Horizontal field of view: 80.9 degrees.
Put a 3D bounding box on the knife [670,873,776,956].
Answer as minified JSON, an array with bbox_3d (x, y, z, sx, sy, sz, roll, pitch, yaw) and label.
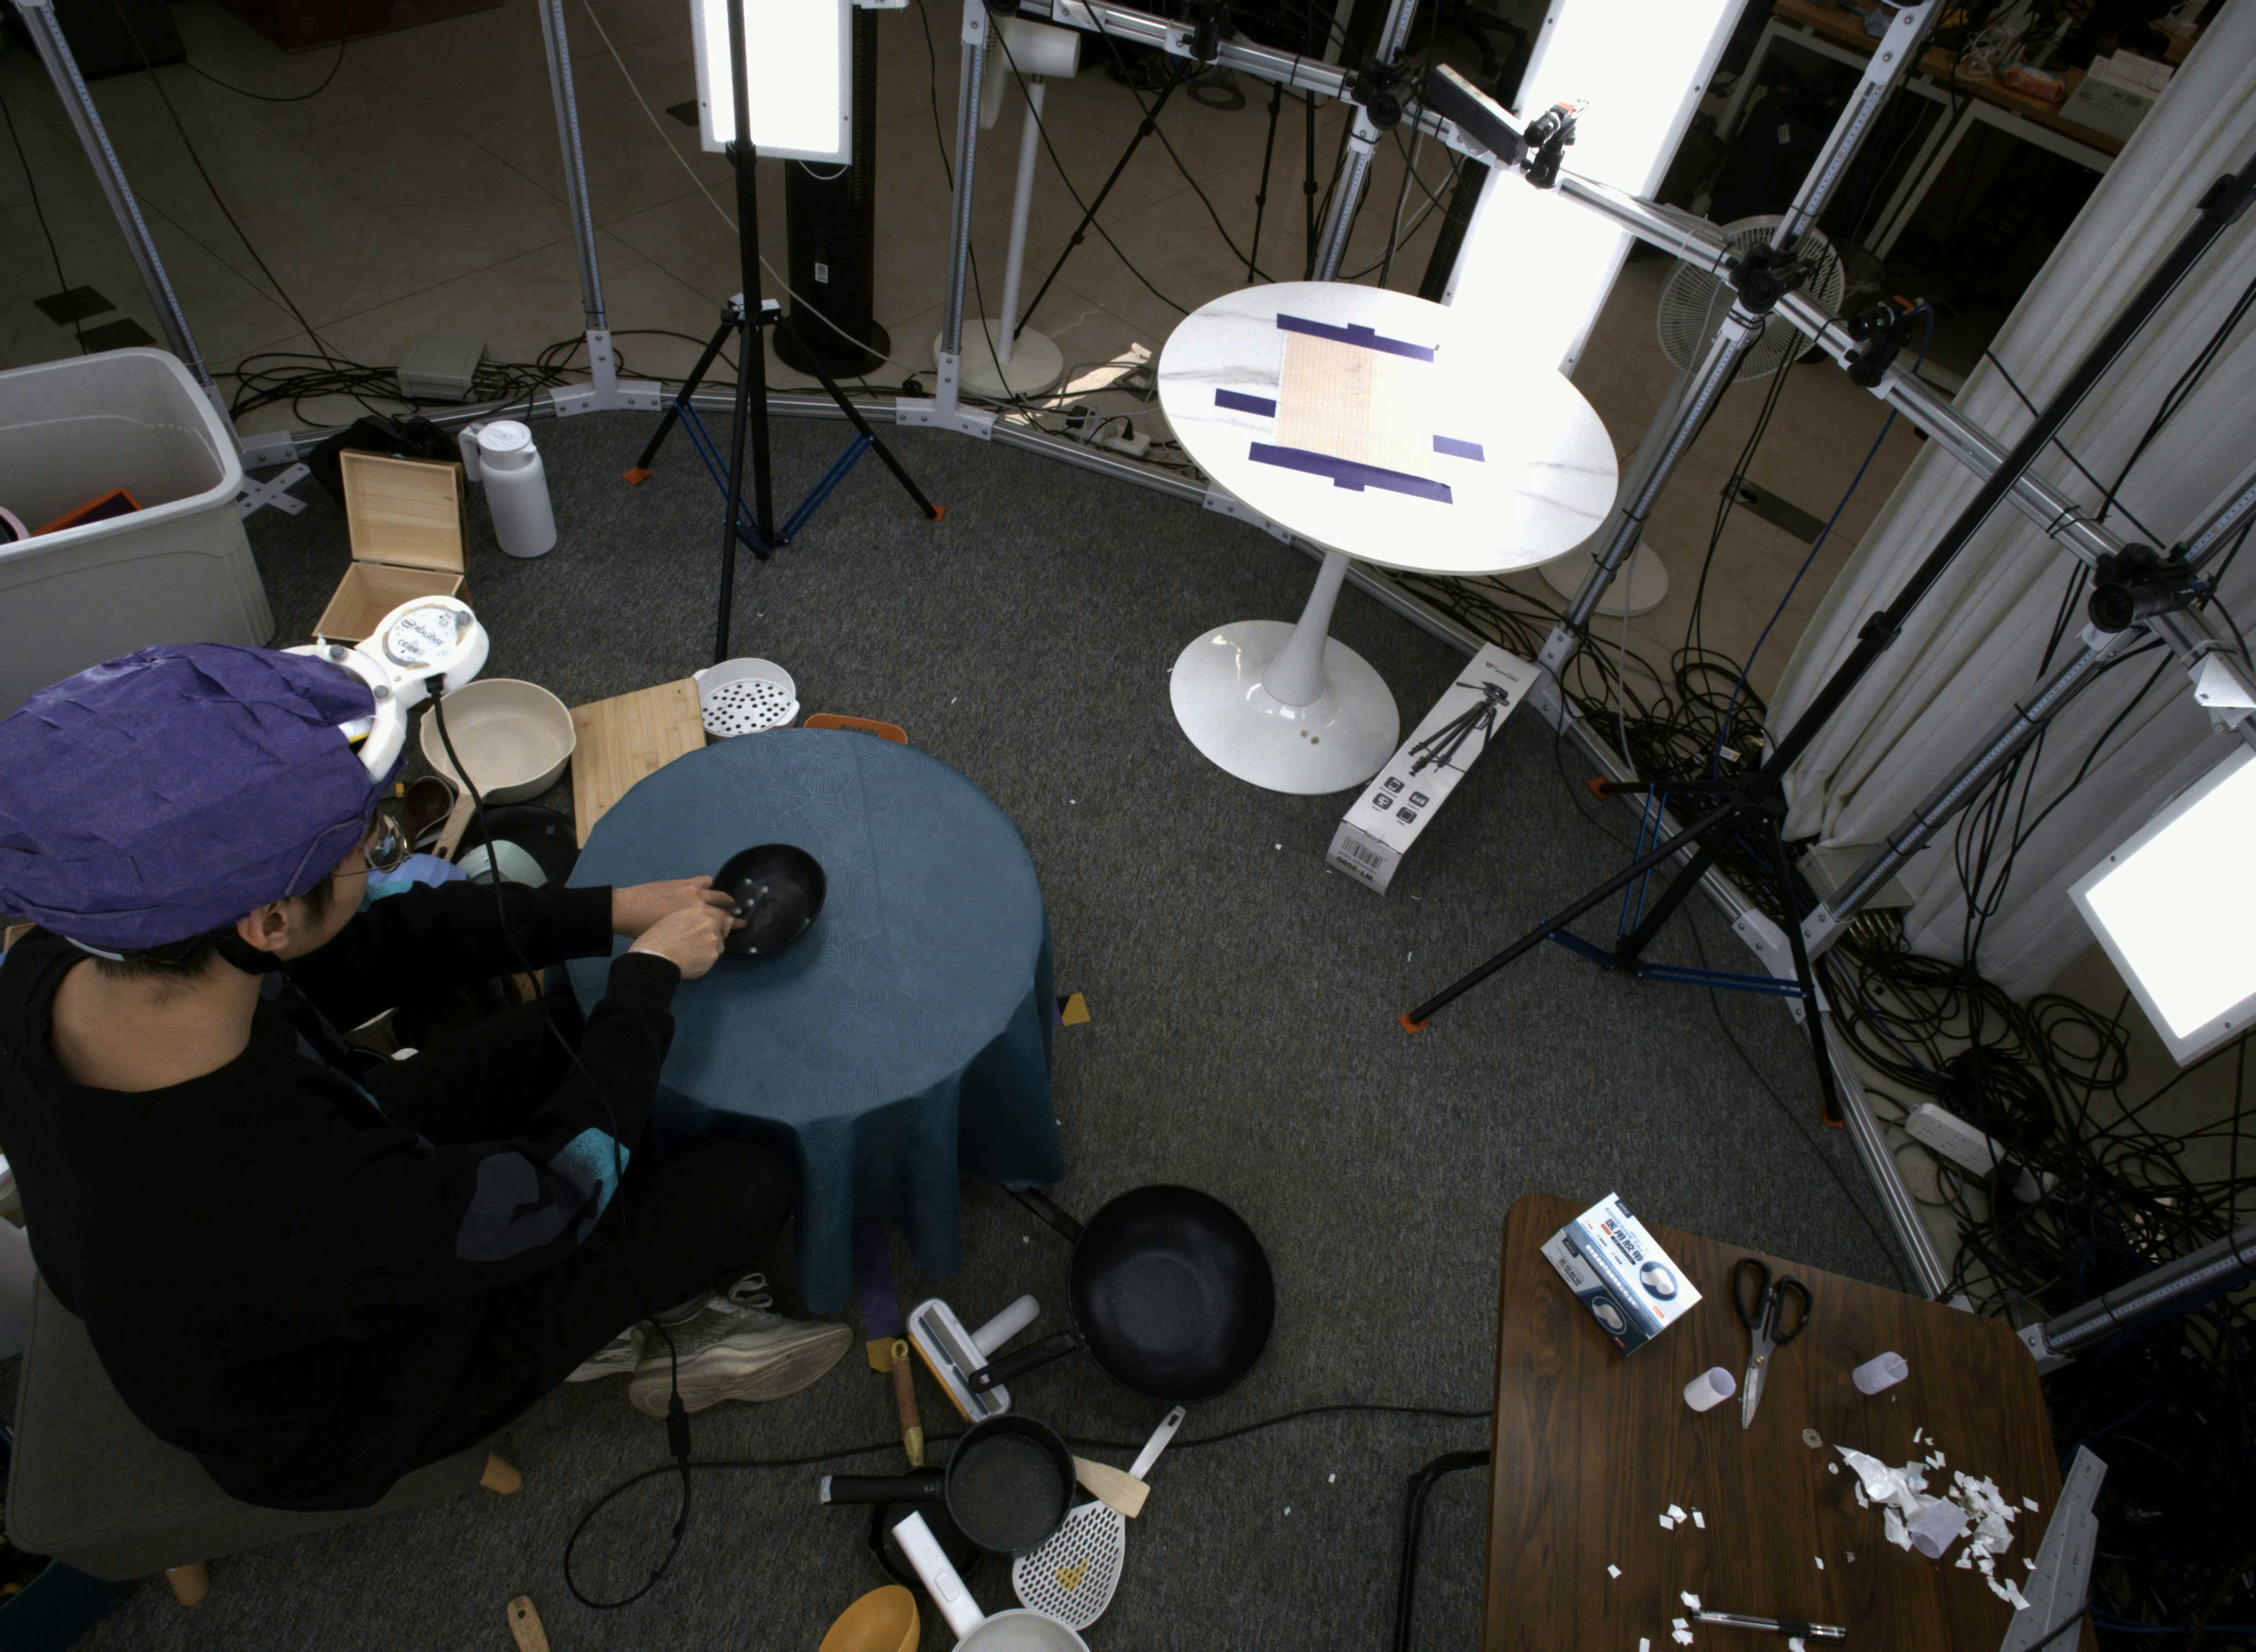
[{"bbox_3d":[-0.473,0.098,1.522,0.017,0.026,0.224,33,24,2],"label":"knife"}]

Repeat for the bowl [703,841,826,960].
[{"bbox_3d":[-0.445,0.100,1.591,0.136,0.068,0.169,22,53,3],"label":"bowl"}]
